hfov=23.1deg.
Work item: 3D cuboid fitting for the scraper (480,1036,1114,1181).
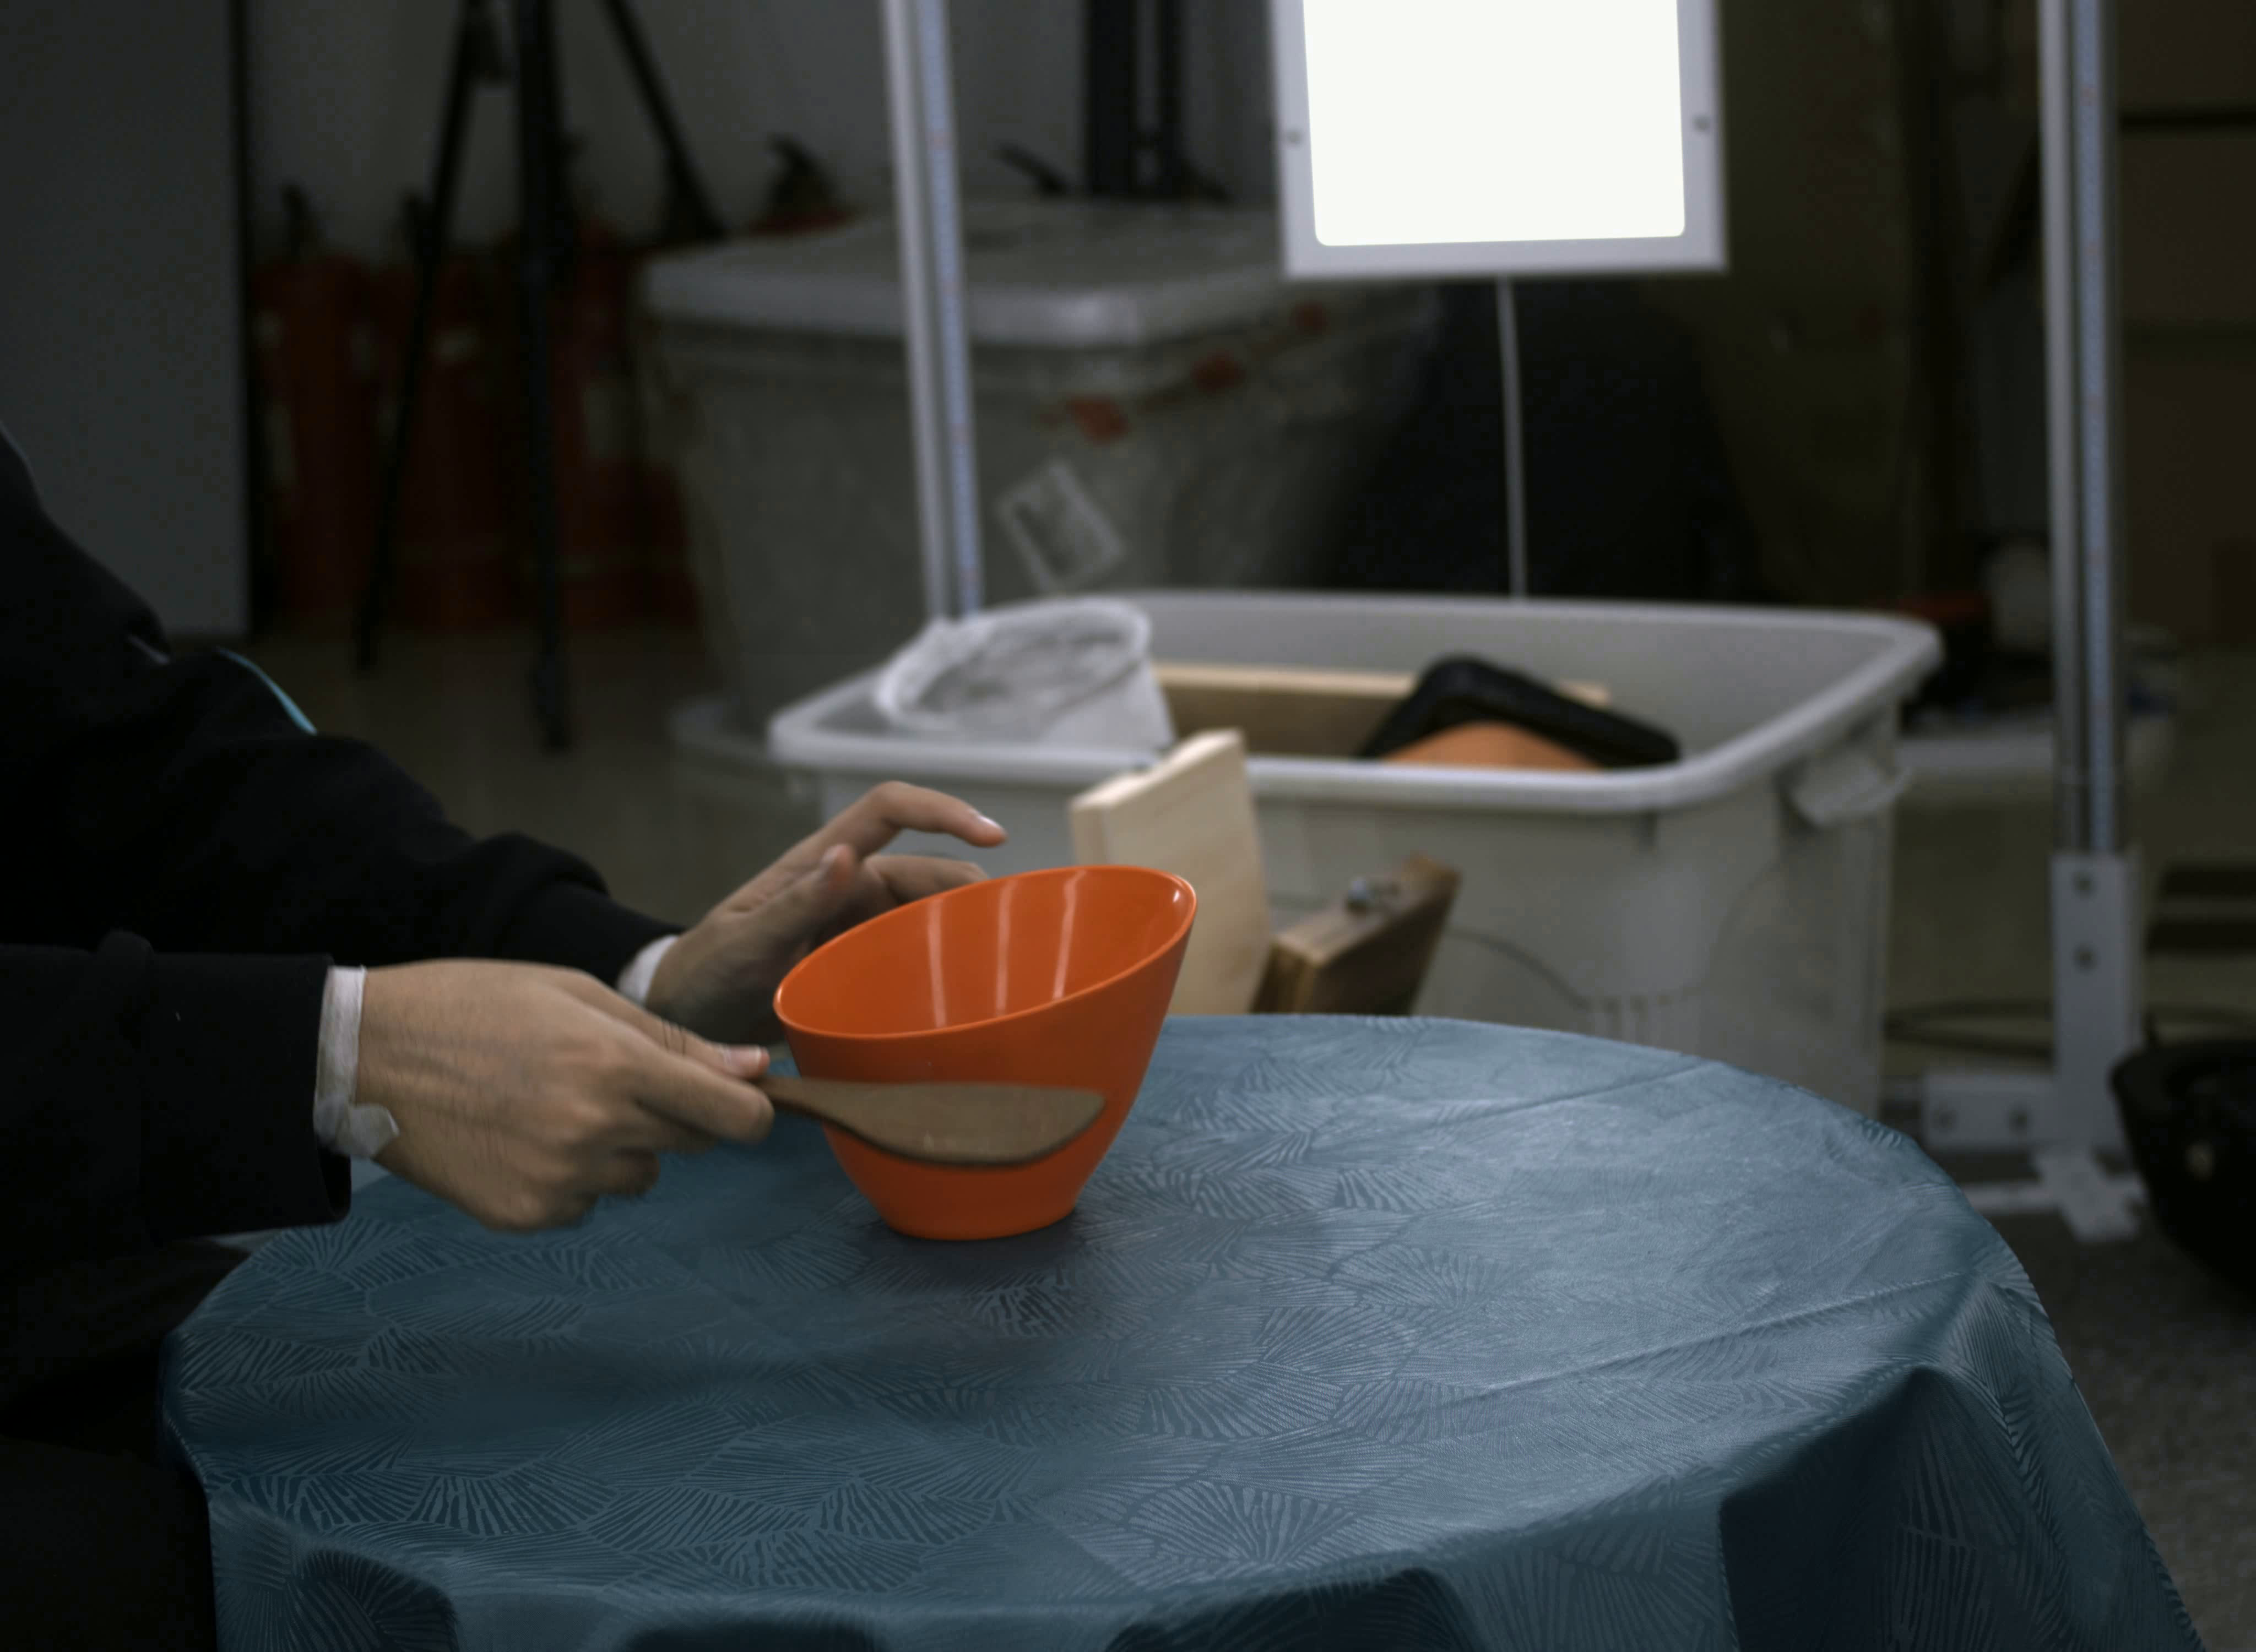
[{"bbox_3d":[-0.109,0.087,1.754,0.214,0.011,0.074,8,18,23],"label":"scraper"}]

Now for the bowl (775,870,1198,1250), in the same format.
[{"bbox_3d":[-0.043,0.083,1.883,0.148,0.105,0.148,-7,14,0],"label":"bowl"}]
